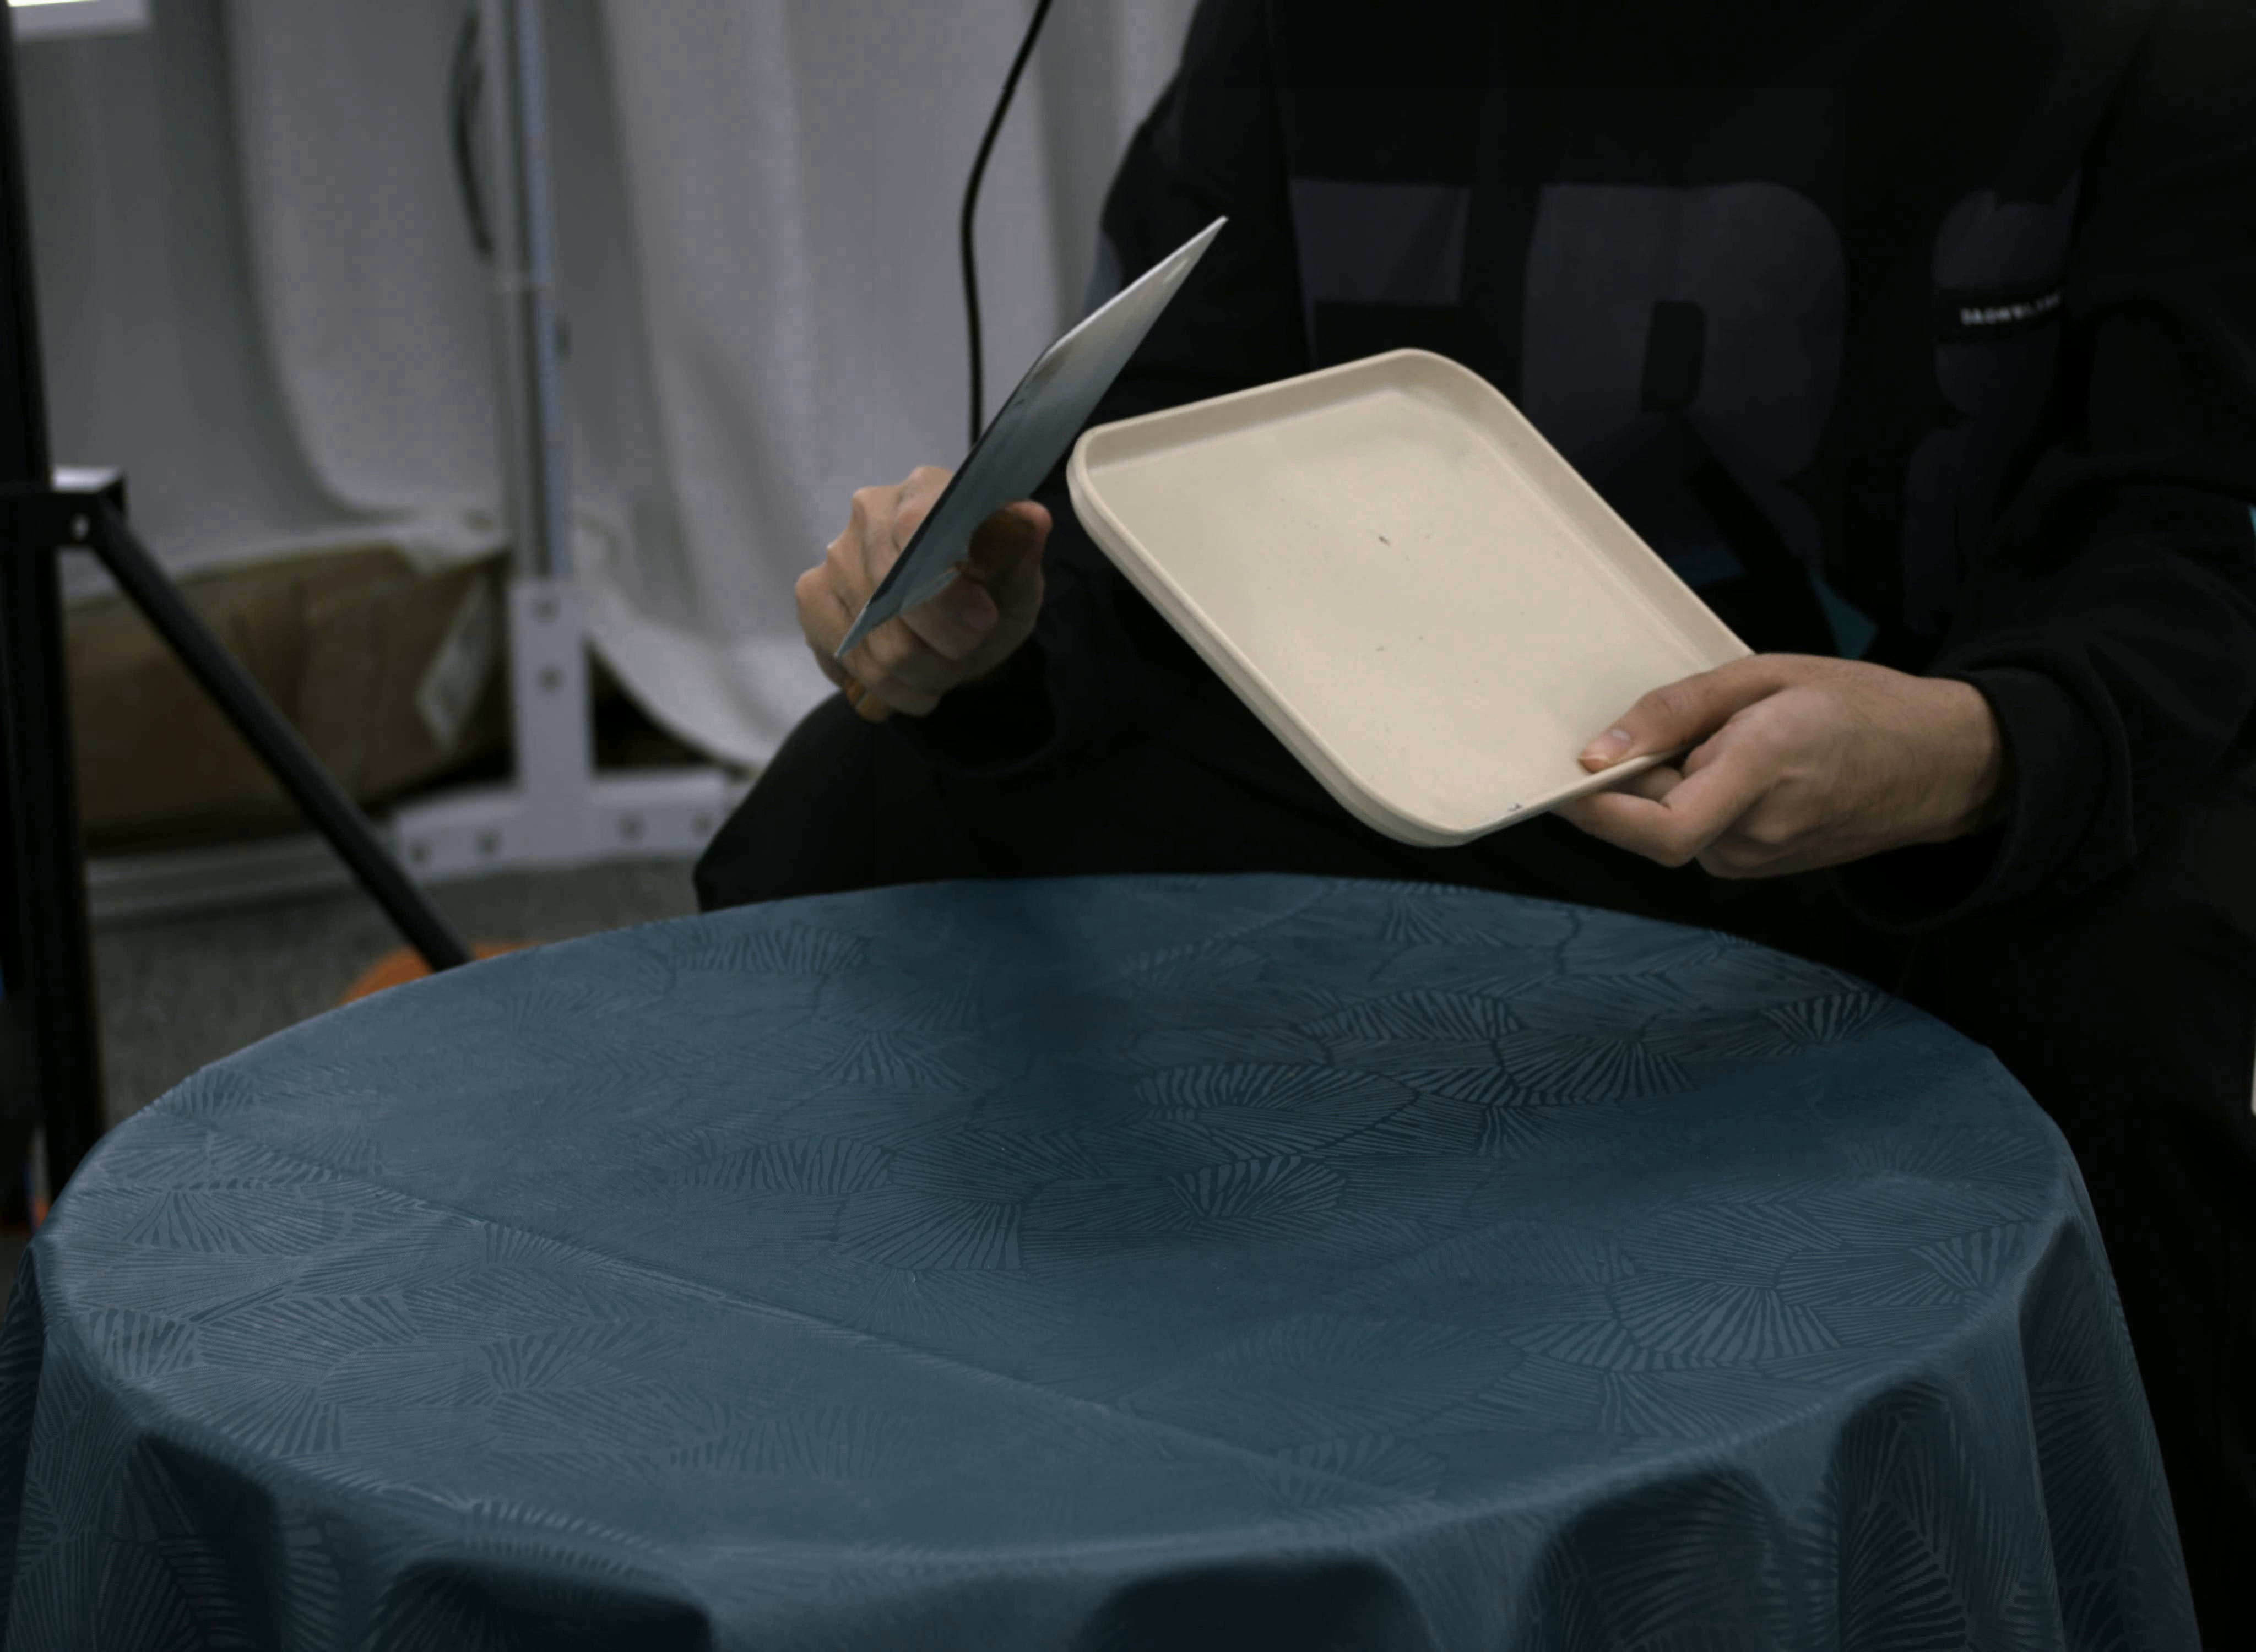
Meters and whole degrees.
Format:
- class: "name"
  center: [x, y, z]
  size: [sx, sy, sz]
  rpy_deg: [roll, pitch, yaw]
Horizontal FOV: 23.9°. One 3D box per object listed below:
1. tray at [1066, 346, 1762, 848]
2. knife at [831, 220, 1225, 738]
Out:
- class: "tray"
  center: [0.089, -0.071, 1.621]
  size: [0.173, 0.017, 0.235]
  rpy_deg: [47, 33, 17]
- class: "knife"
  center: [-0.051, -0.094, 1.693]
  size: [0.092, 0.021, 0.308]
  rpy_deg: [-41, -5, -33]
